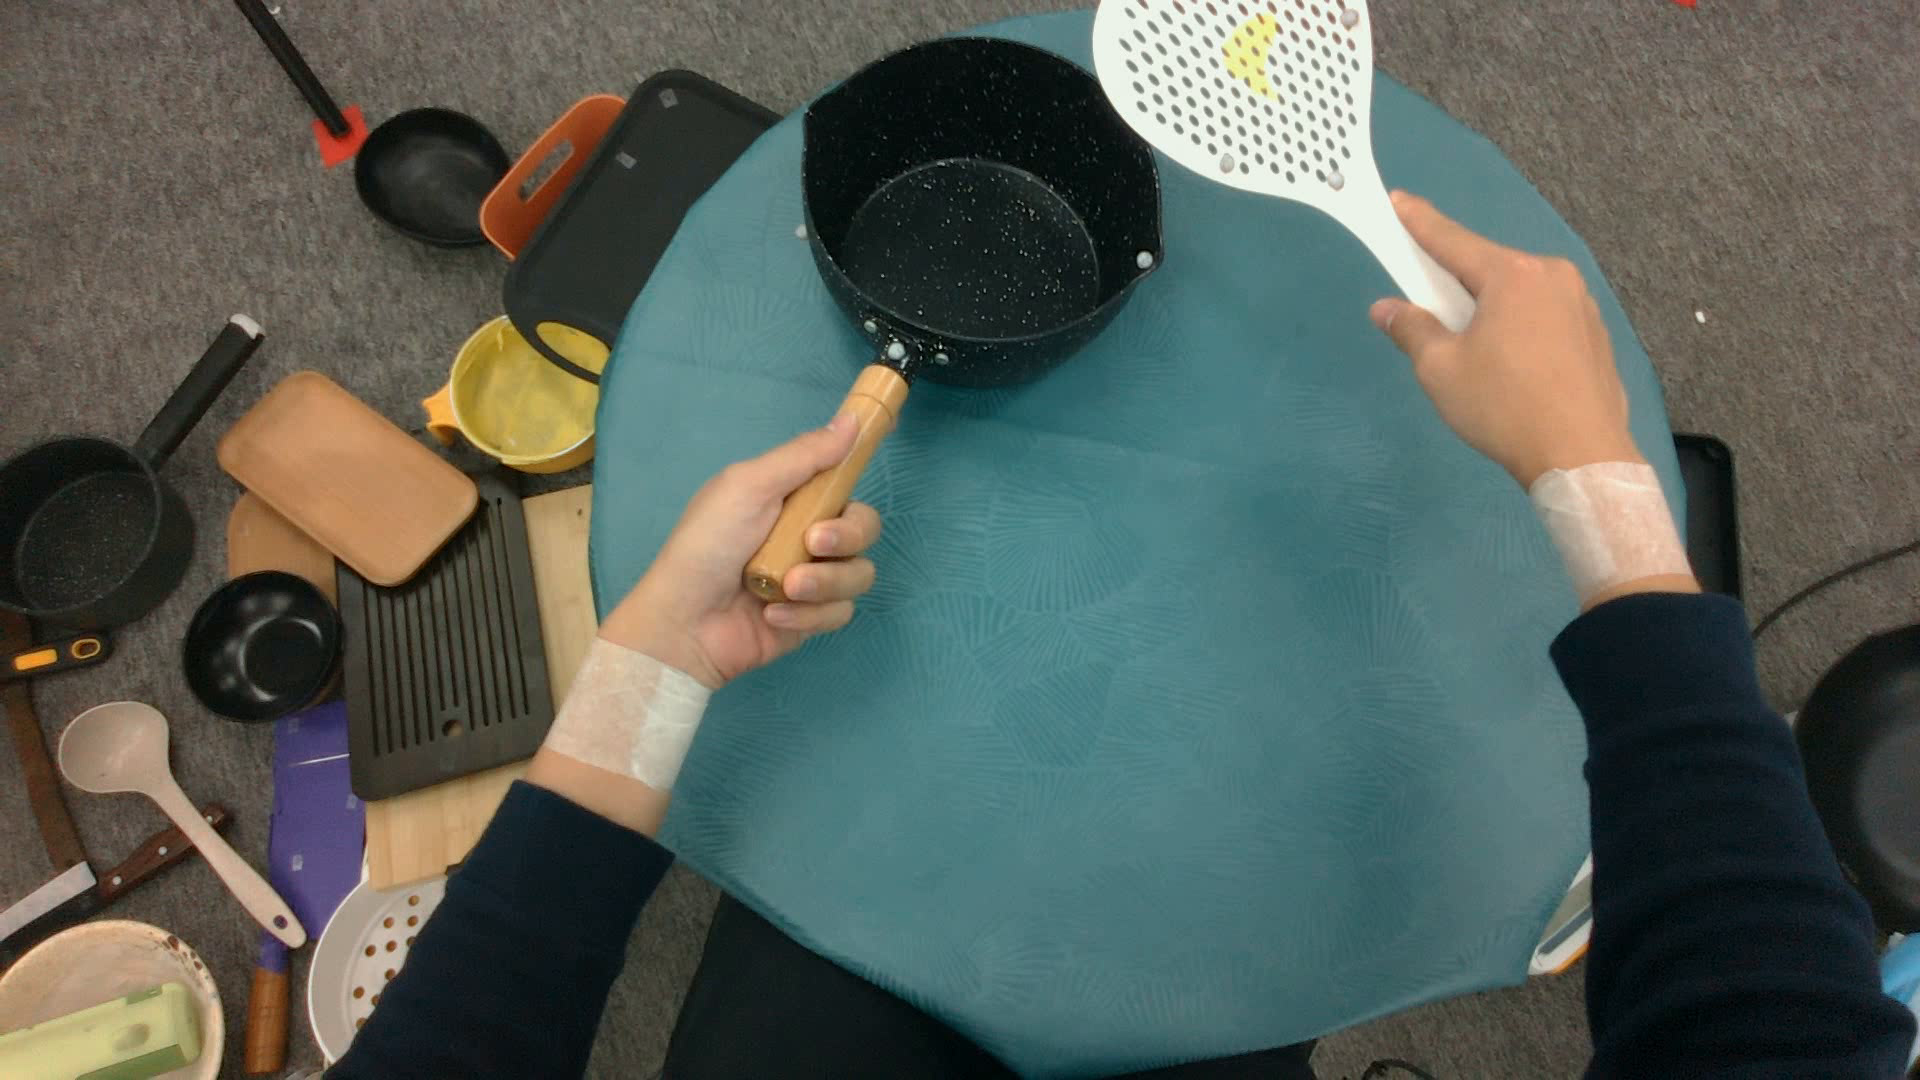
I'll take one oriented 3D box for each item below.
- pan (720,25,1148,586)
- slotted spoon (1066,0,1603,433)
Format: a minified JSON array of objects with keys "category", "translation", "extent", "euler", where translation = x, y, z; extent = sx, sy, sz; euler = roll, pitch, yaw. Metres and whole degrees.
[{"category":"pan","translation":[-0.029,-0.110,0.701],"extent":[0.207,0.108,0.344],"euler":[23,67,3]},{"category":"slotted spoon","translation":[0.181,-0.183,0.668],"extent":[0.136,0.050,0.348],"euler":[-44,67,29]}]
